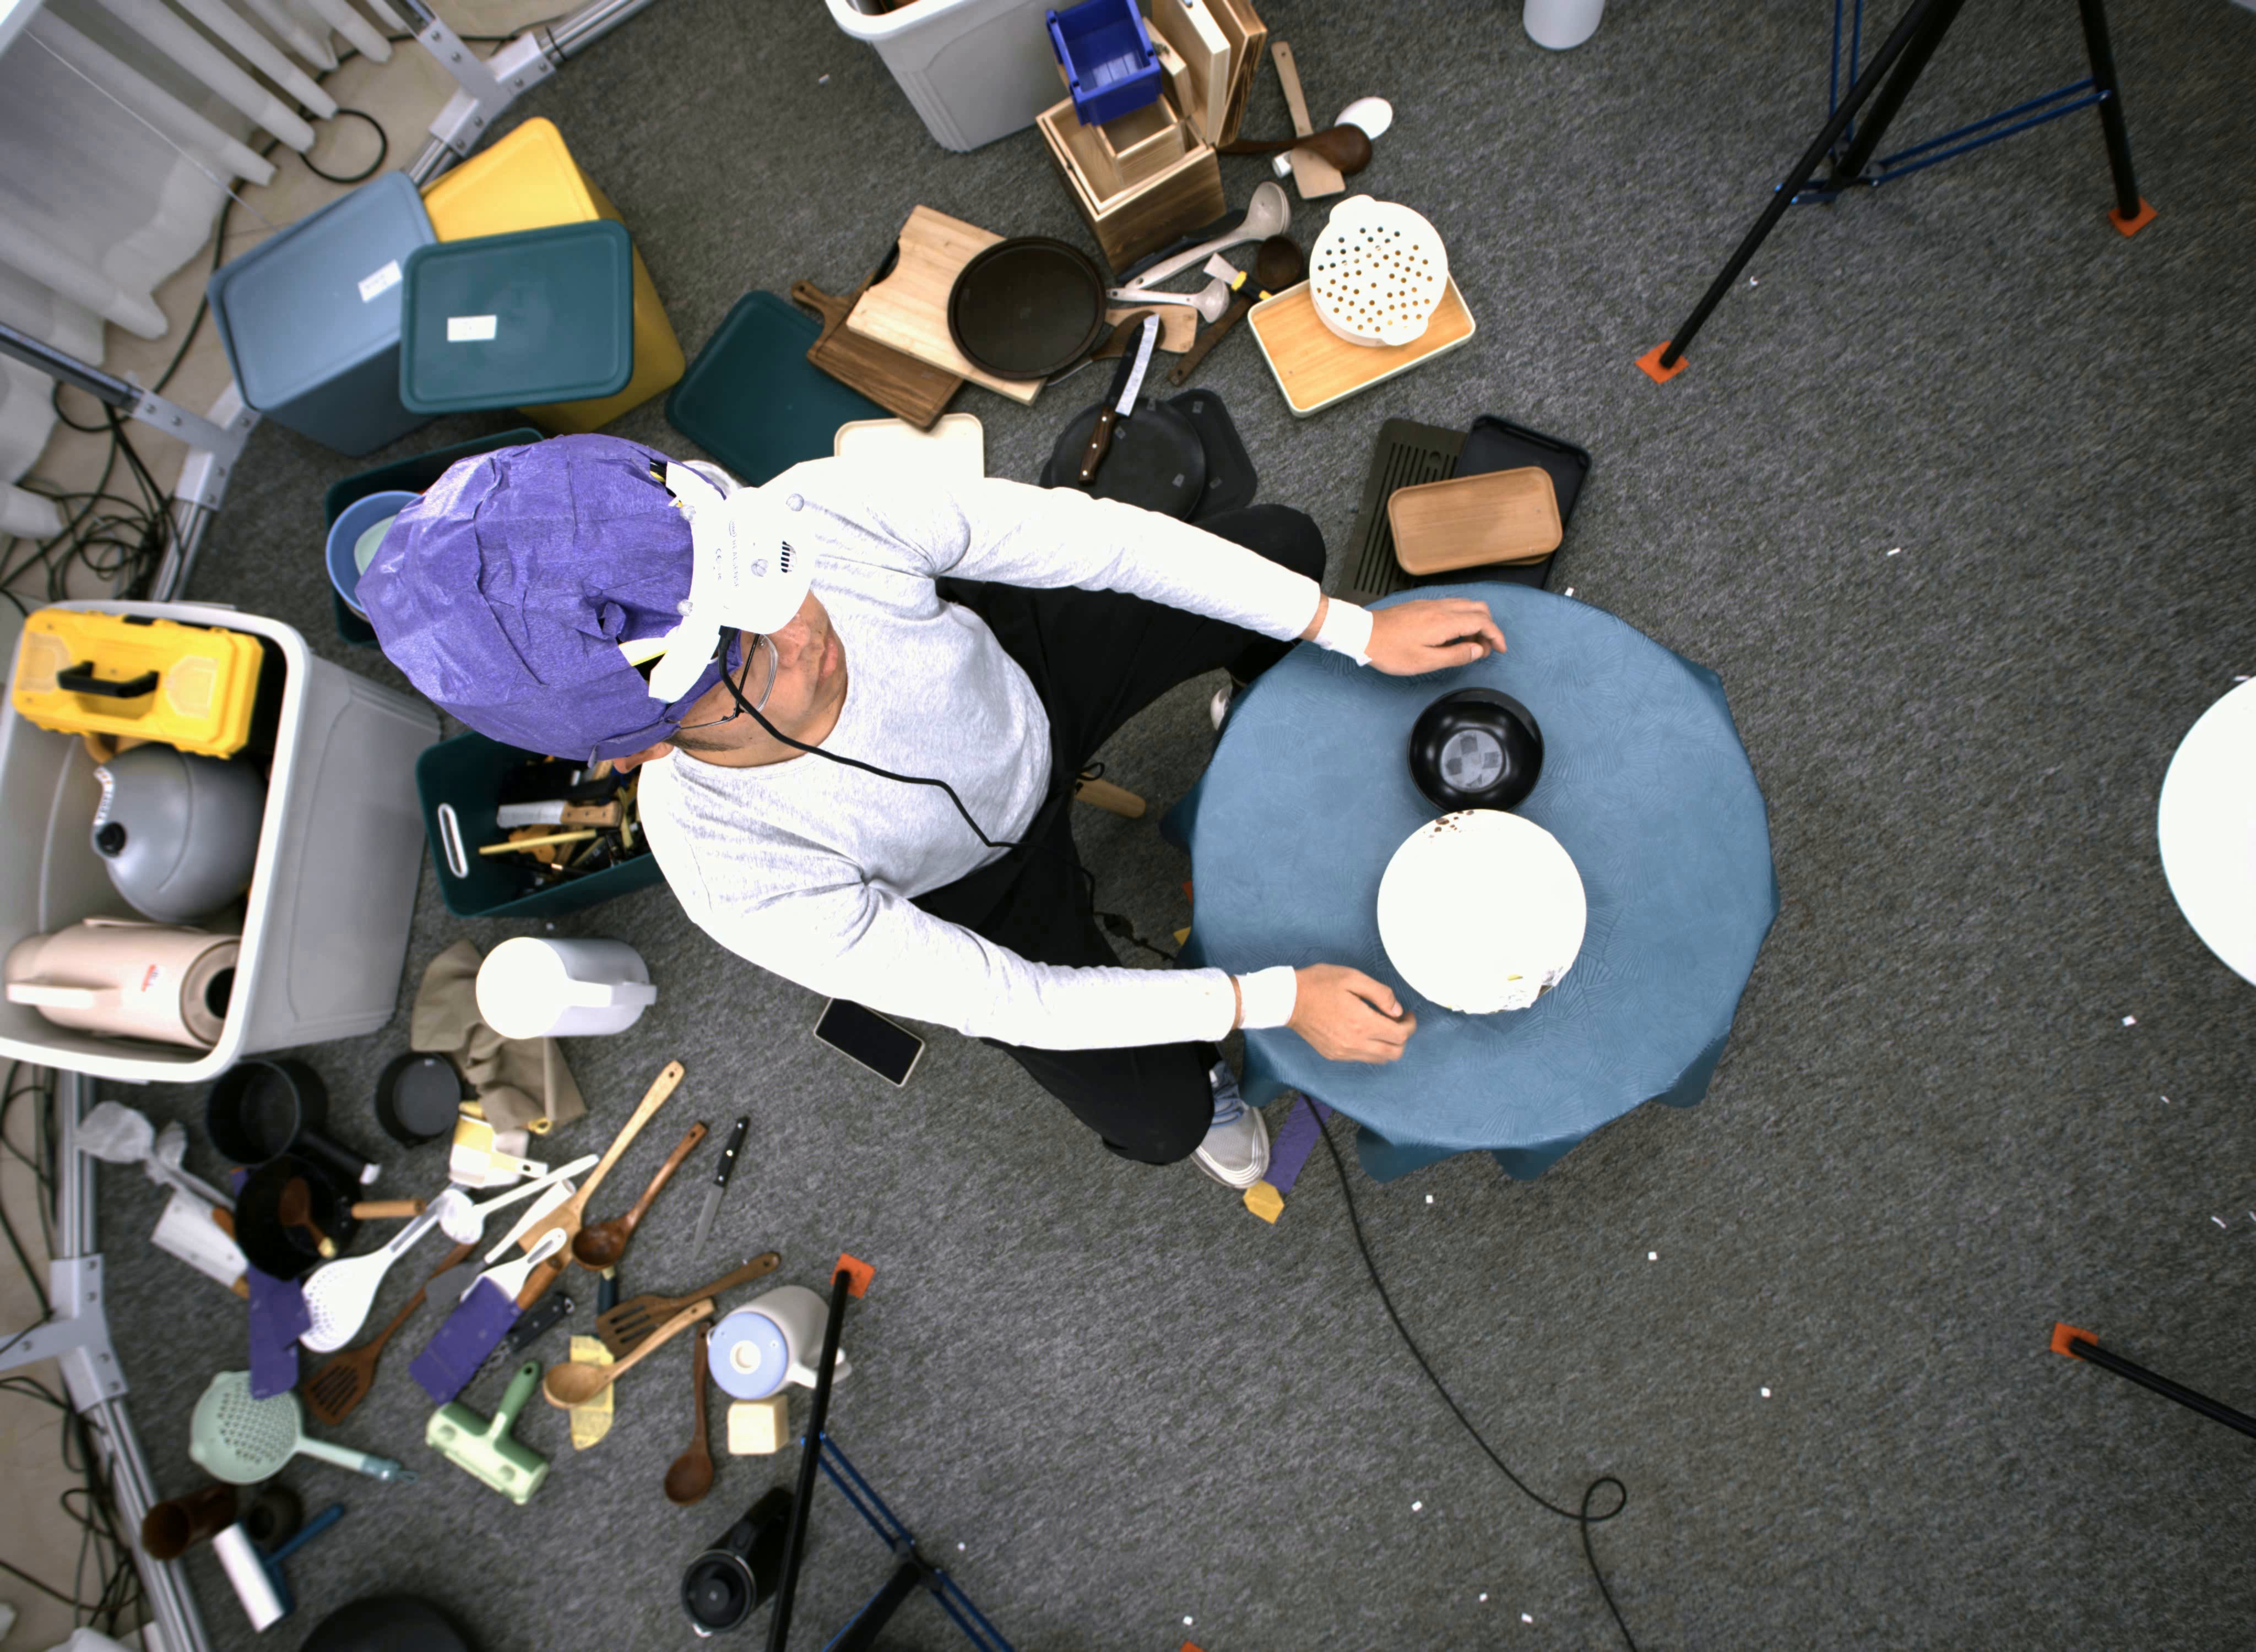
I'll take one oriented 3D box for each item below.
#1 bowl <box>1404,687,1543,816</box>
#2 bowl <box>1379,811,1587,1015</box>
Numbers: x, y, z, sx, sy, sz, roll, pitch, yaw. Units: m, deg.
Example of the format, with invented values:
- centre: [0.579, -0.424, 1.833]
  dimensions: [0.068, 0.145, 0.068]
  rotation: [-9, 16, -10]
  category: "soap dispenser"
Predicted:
- centre: [0.360, -0.074, 1.430]
  dimensions: [0.141, 0.050, 0.139]
  rotation: [-2, 84, 15]
  category: "bowl"
- centre: [0.358, 0.088, 1.403]
  dimensions: [0.205, 0.078, 0.203]
  rotation: [-1, 85, 11]
  category: "bowl"
